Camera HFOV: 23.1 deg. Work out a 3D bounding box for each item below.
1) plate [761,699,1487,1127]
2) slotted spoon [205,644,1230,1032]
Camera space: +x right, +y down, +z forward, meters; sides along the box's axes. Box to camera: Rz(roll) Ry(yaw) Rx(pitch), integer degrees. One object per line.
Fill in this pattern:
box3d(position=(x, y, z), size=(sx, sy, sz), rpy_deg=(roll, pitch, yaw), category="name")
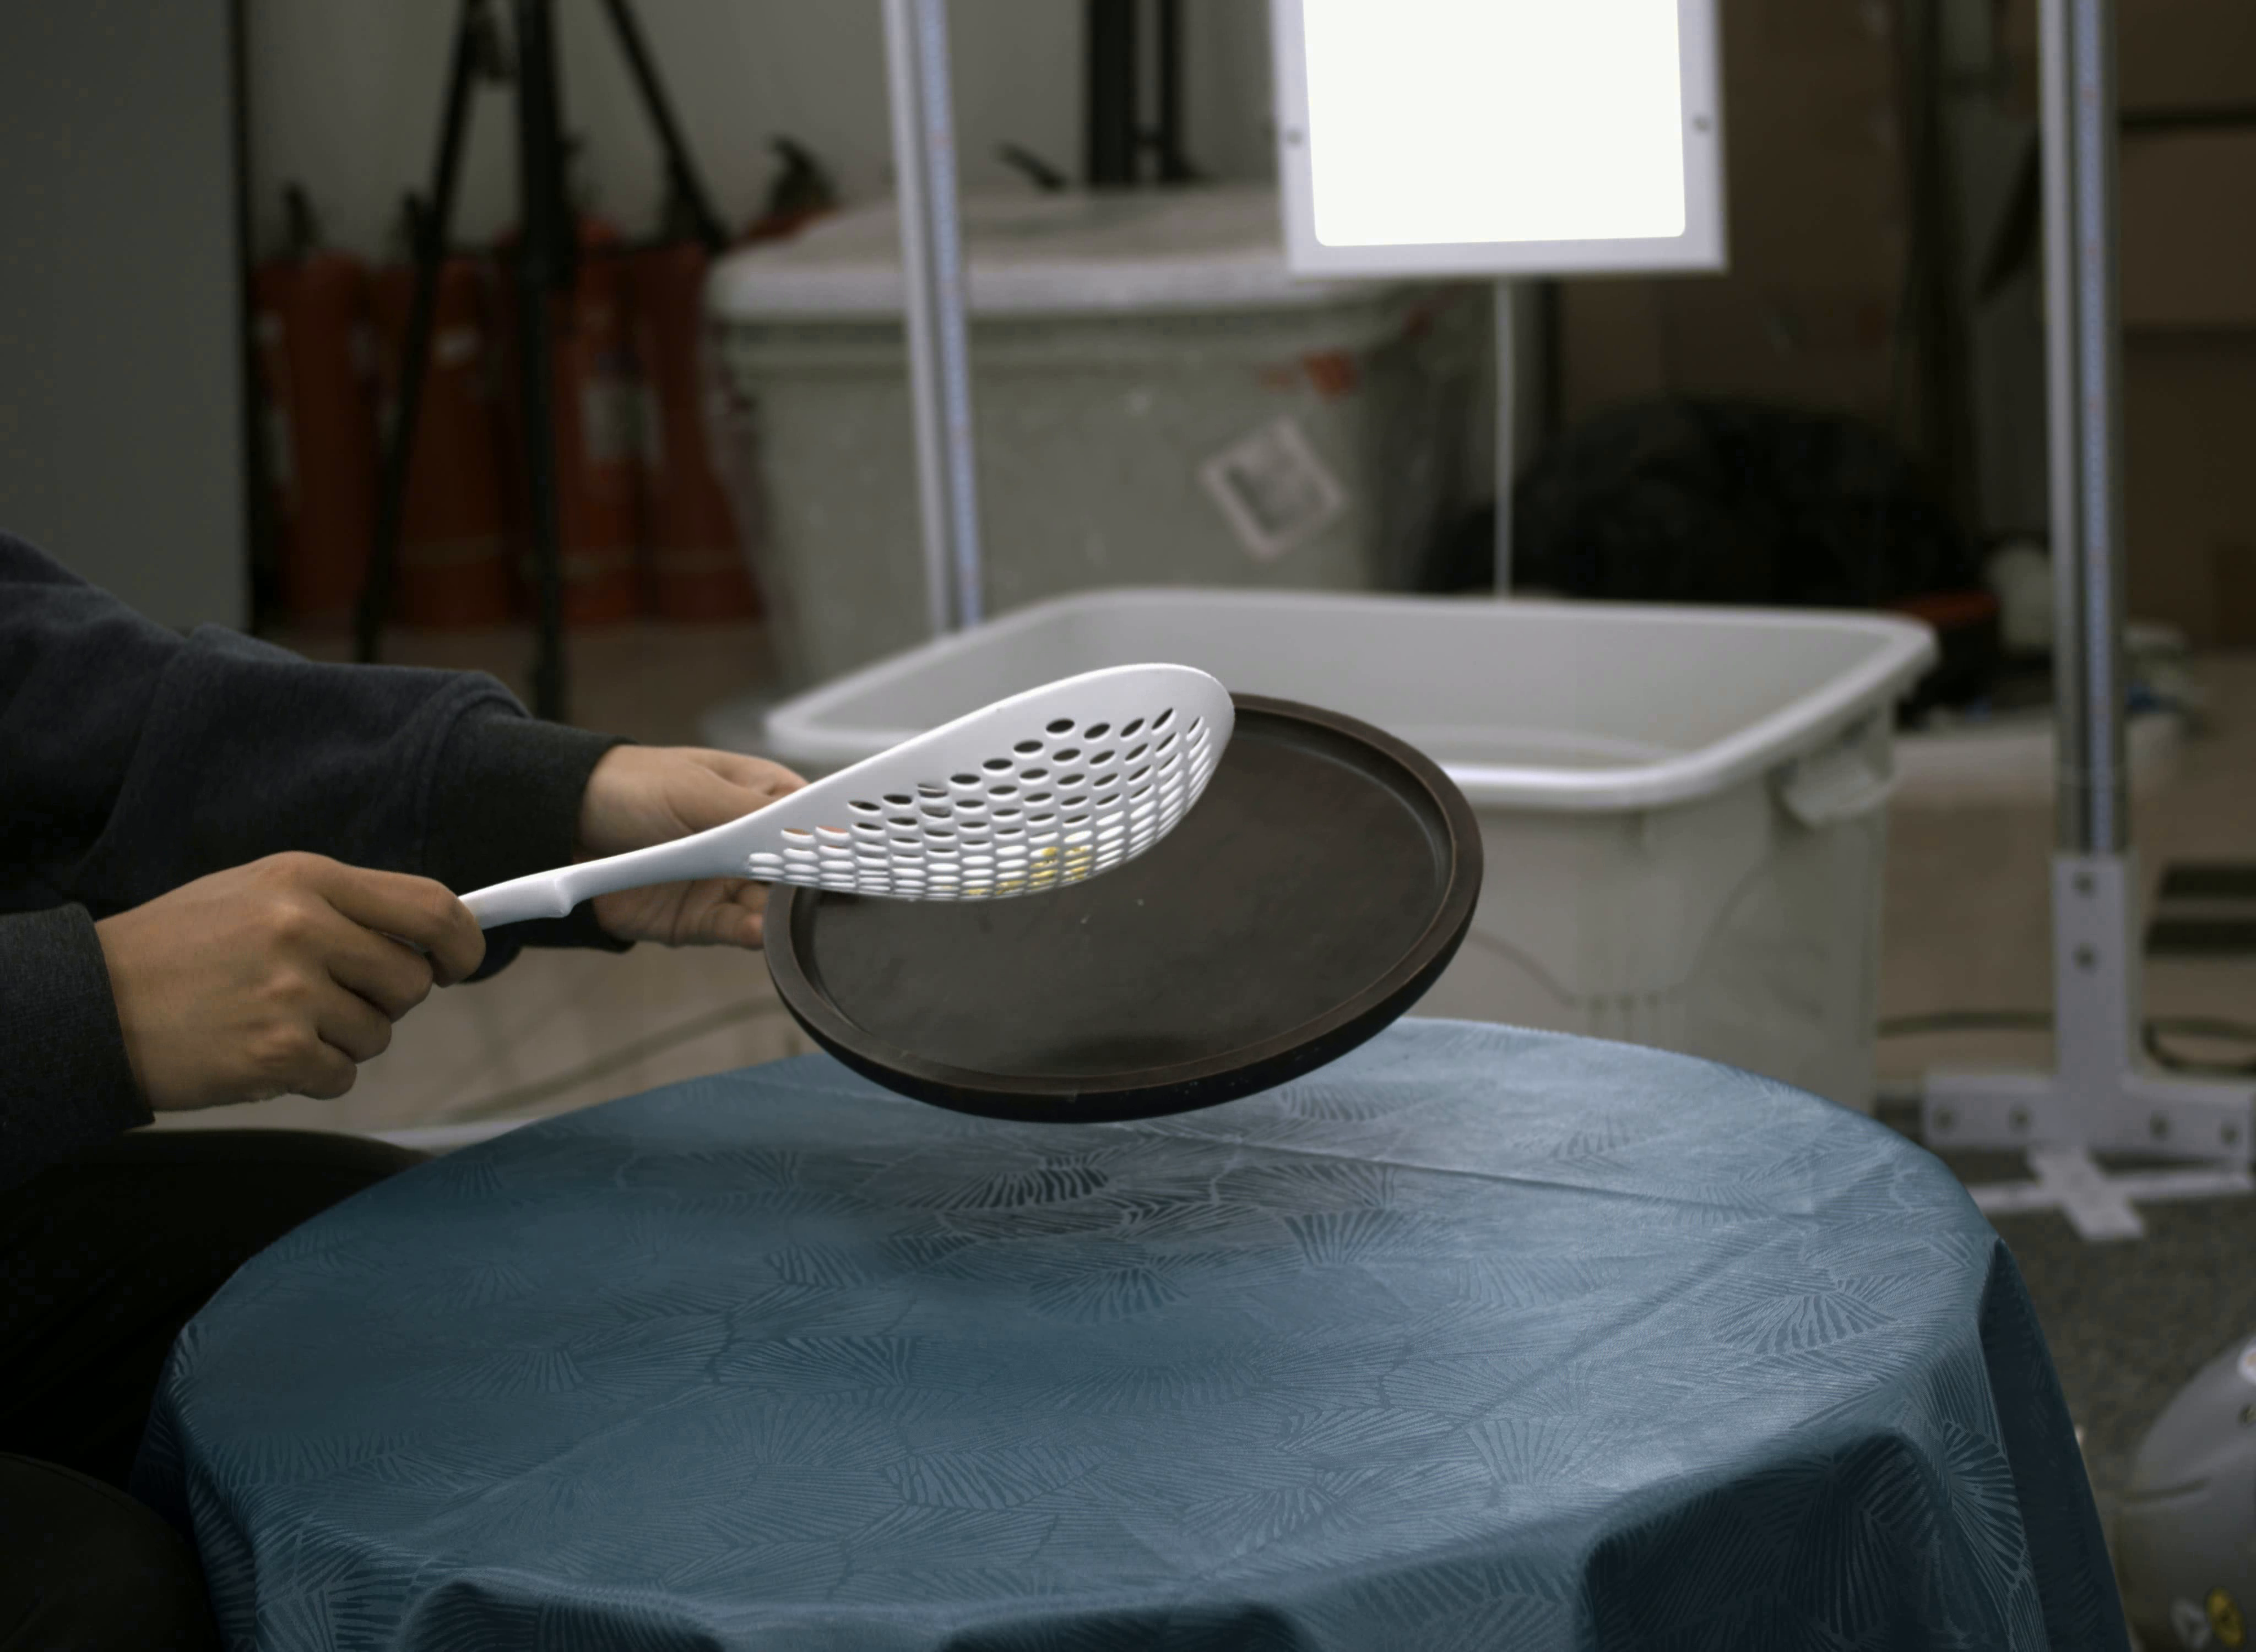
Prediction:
box3d(position=(-0.001, 0.028, 1.908), size=(0.255, 0.029, 0.254), rpy_deg=(-7, 33, 4), category="plate")
box3d(position=(-0.129, 0.015, 1.784), size=(0.344, 0.050, 0.137), rpy_deg=(-10, -23, -8), category="slotted spoon")
